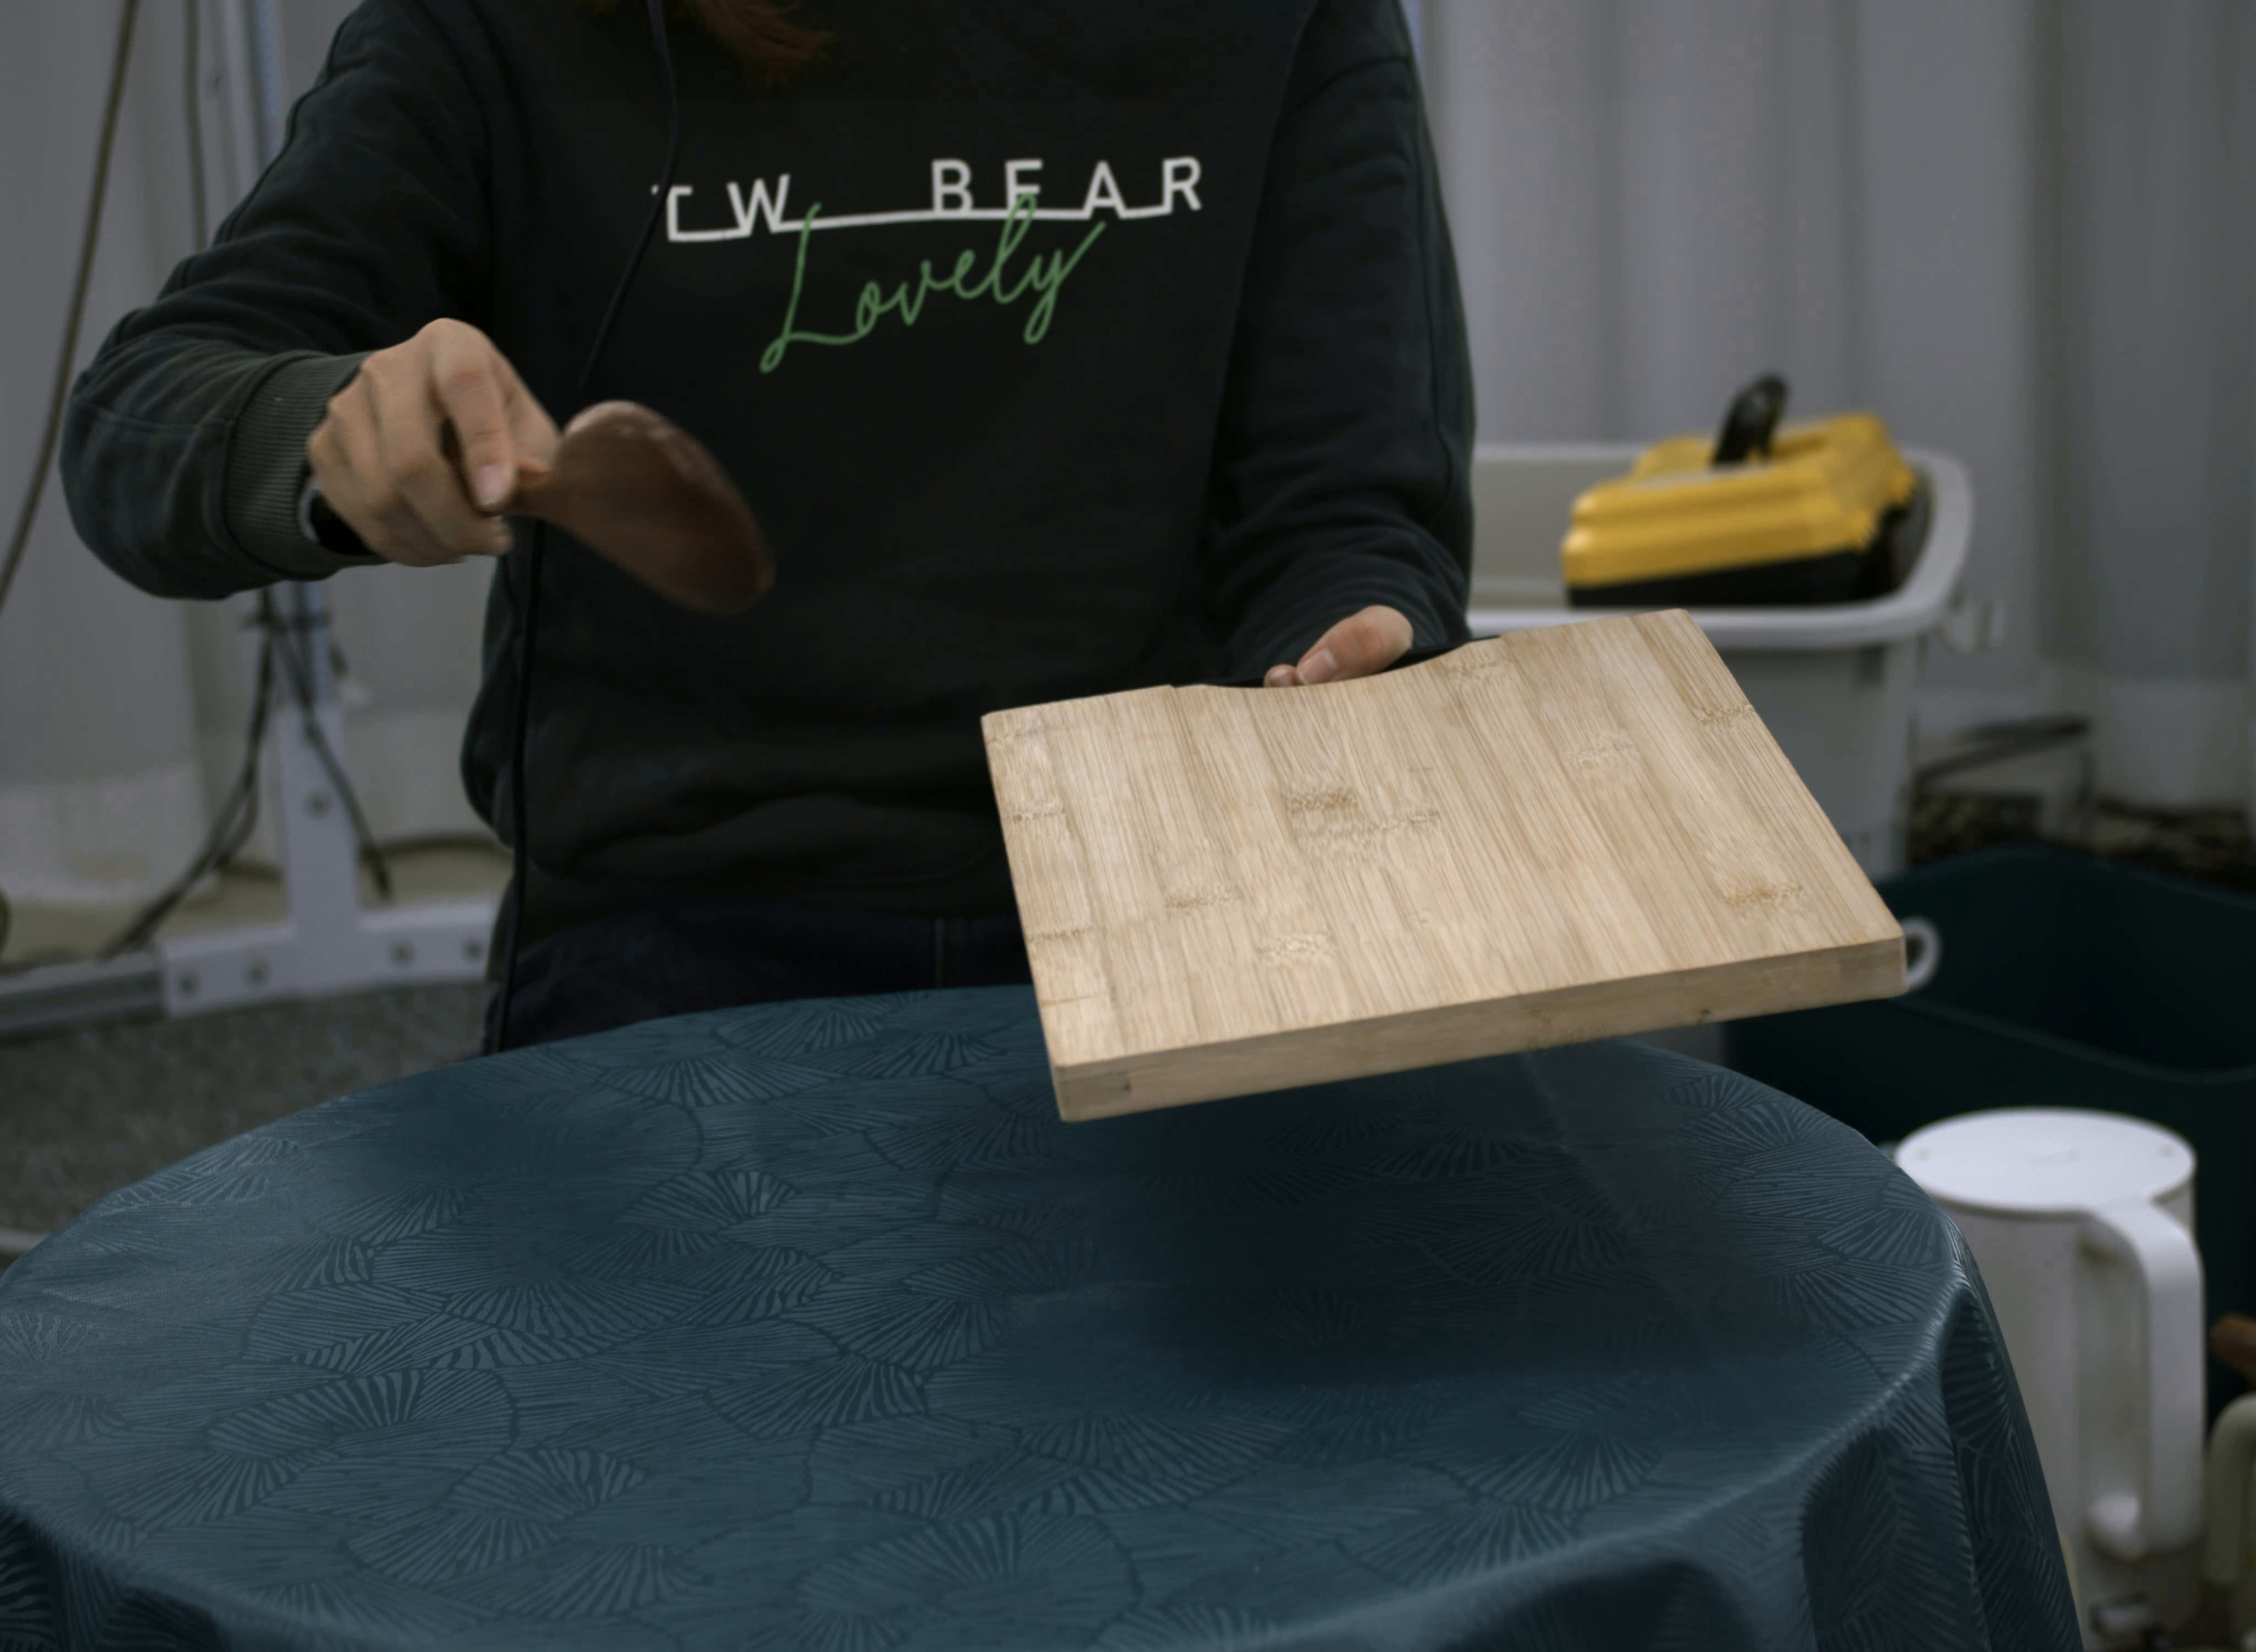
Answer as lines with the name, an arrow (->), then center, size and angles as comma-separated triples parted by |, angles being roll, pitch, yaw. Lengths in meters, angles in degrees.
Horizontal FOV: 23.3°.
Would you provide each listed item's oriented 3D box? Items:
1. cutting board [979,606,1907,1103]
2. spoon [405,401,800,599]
cutting board -> 0.084, 0.003, 1.677 | 0.250, 0.023, 0.351 | -8, 18, -3
spoon -> -0.164, -0.099, 1.640 | 0.017, 0.075, 0.217 | -46, 28, -19
